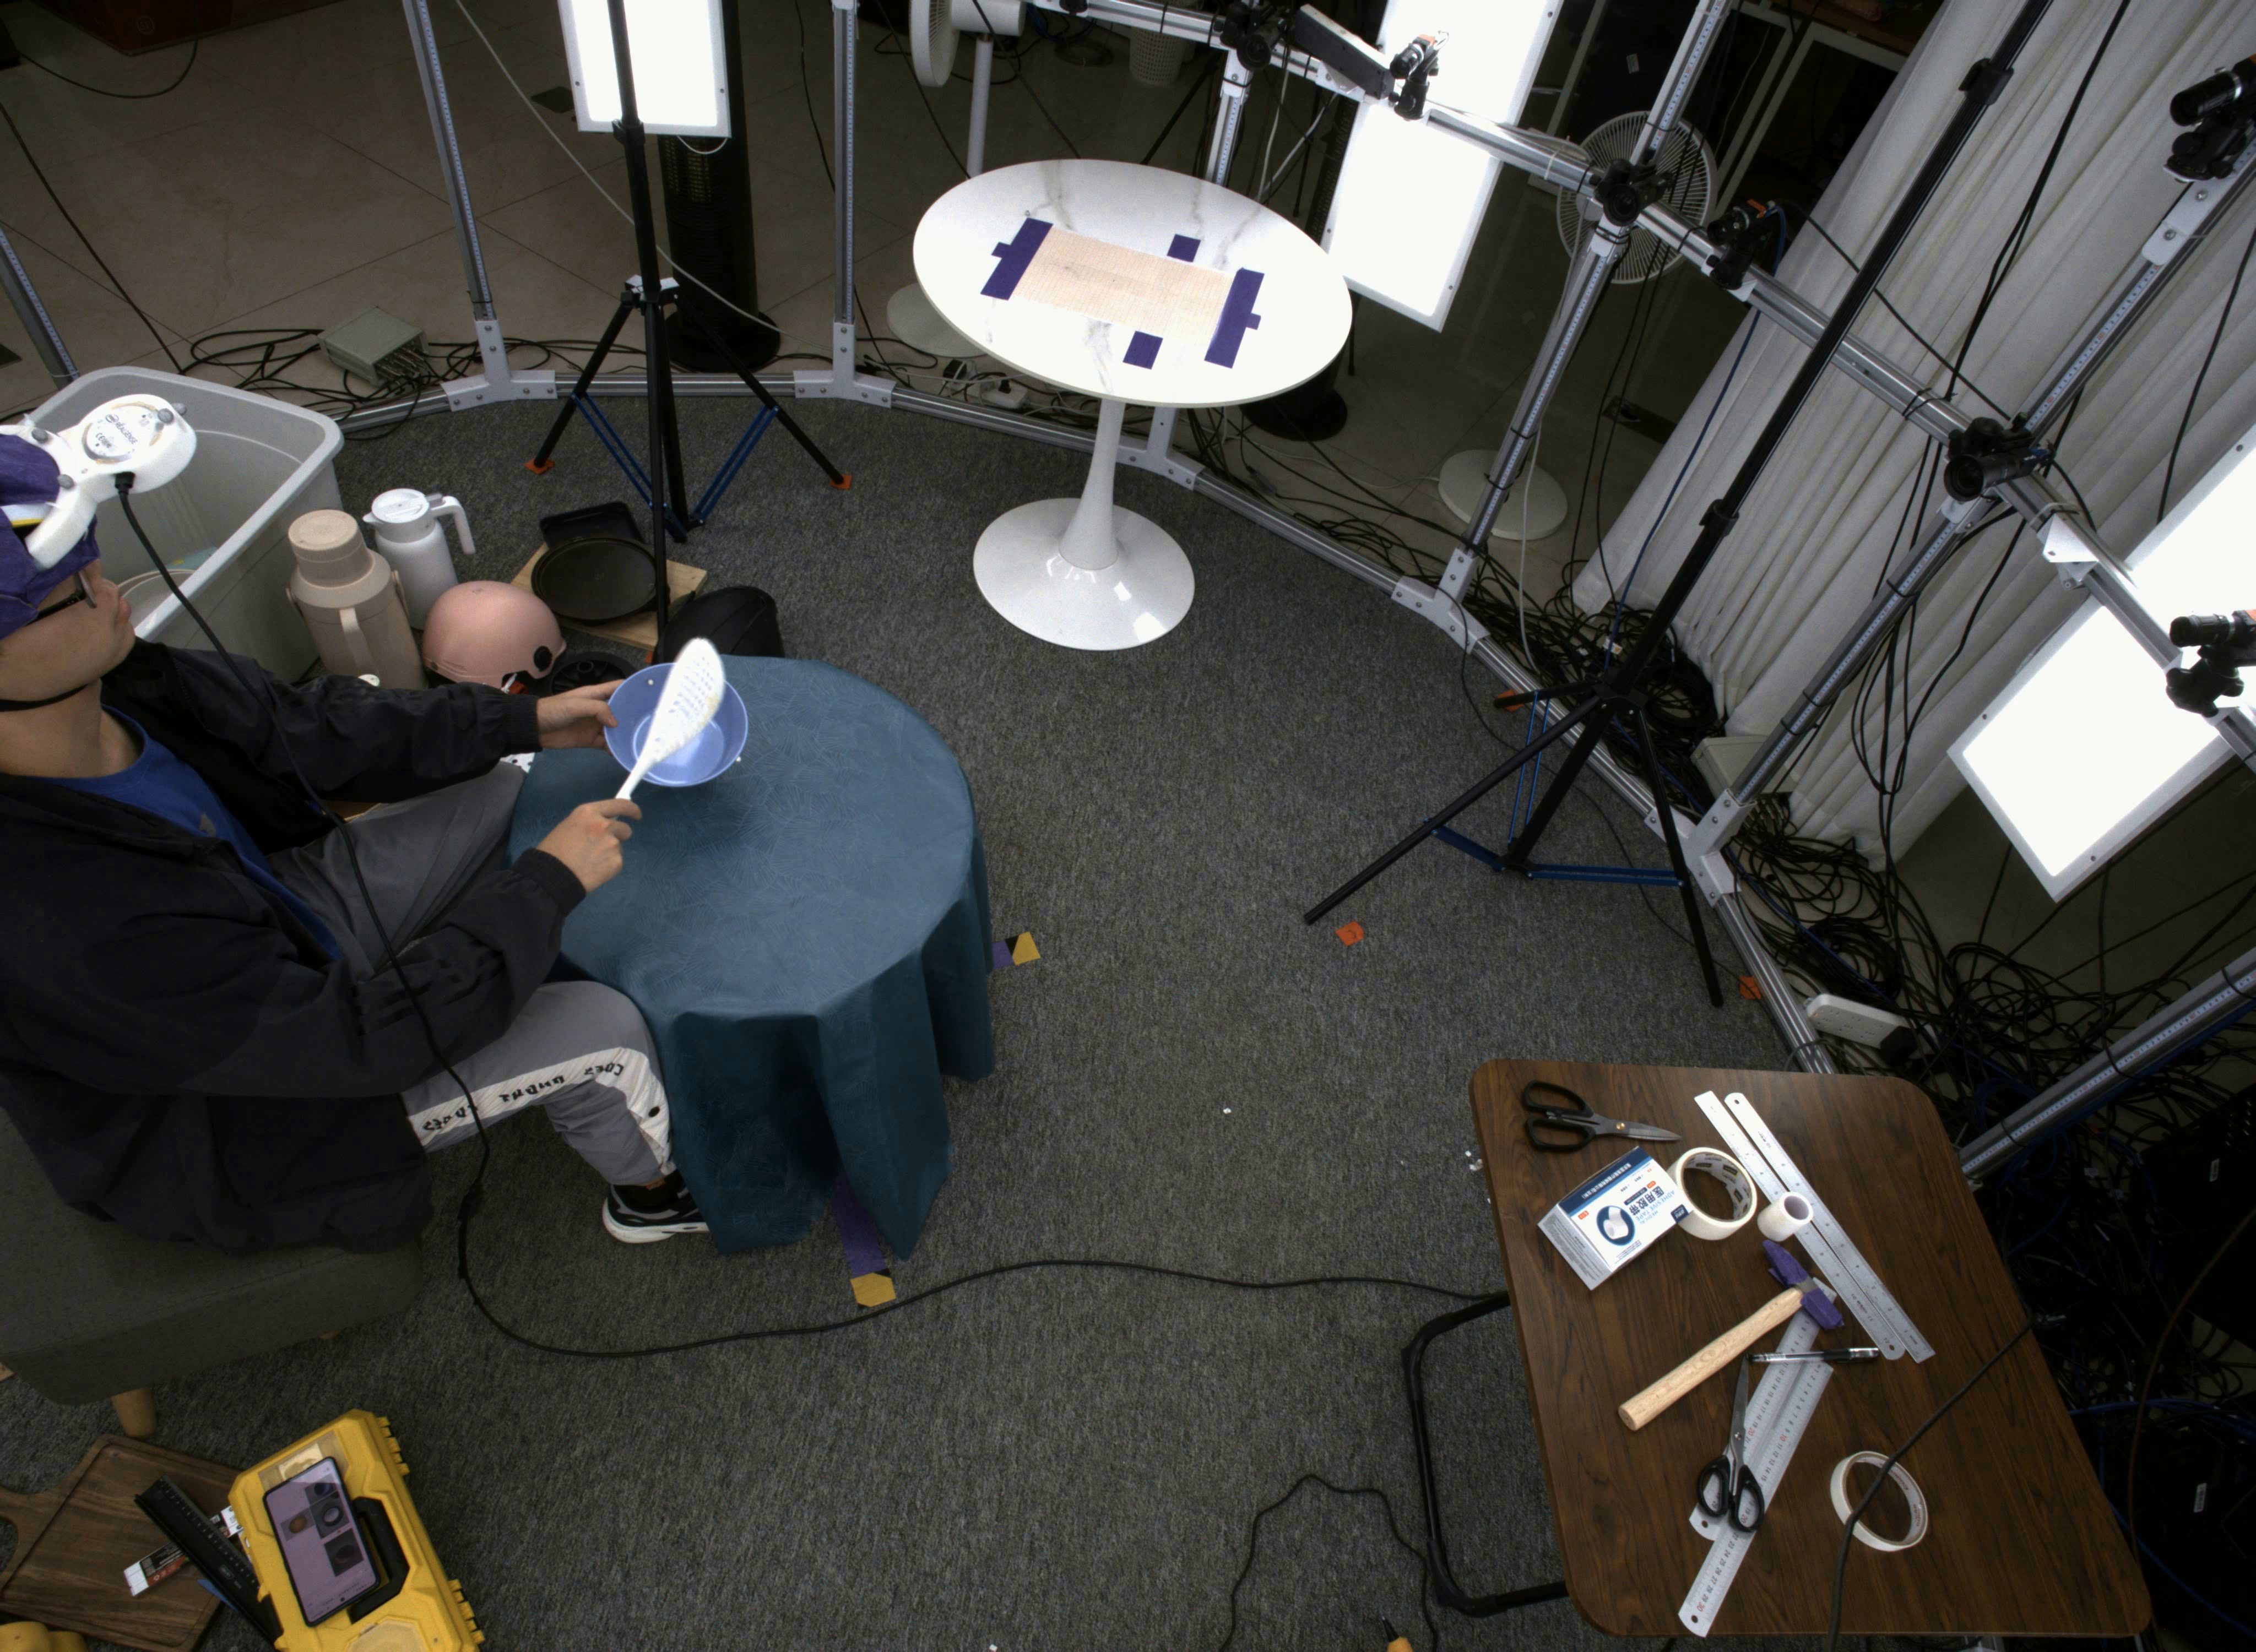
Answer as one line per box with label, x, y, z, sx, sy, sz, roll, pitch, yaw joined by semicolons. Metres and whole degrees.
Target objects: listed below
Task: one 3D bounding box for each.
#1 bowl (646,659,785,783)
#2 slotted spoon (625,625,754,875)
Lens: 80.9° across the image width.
bowl;-0.536;-0.125;1.675;0.177;0.070;0.174;8;66;-15
slotted spoon;-0.535;-0.089;1.561;0.049;0.139;0.346;21;60;6
